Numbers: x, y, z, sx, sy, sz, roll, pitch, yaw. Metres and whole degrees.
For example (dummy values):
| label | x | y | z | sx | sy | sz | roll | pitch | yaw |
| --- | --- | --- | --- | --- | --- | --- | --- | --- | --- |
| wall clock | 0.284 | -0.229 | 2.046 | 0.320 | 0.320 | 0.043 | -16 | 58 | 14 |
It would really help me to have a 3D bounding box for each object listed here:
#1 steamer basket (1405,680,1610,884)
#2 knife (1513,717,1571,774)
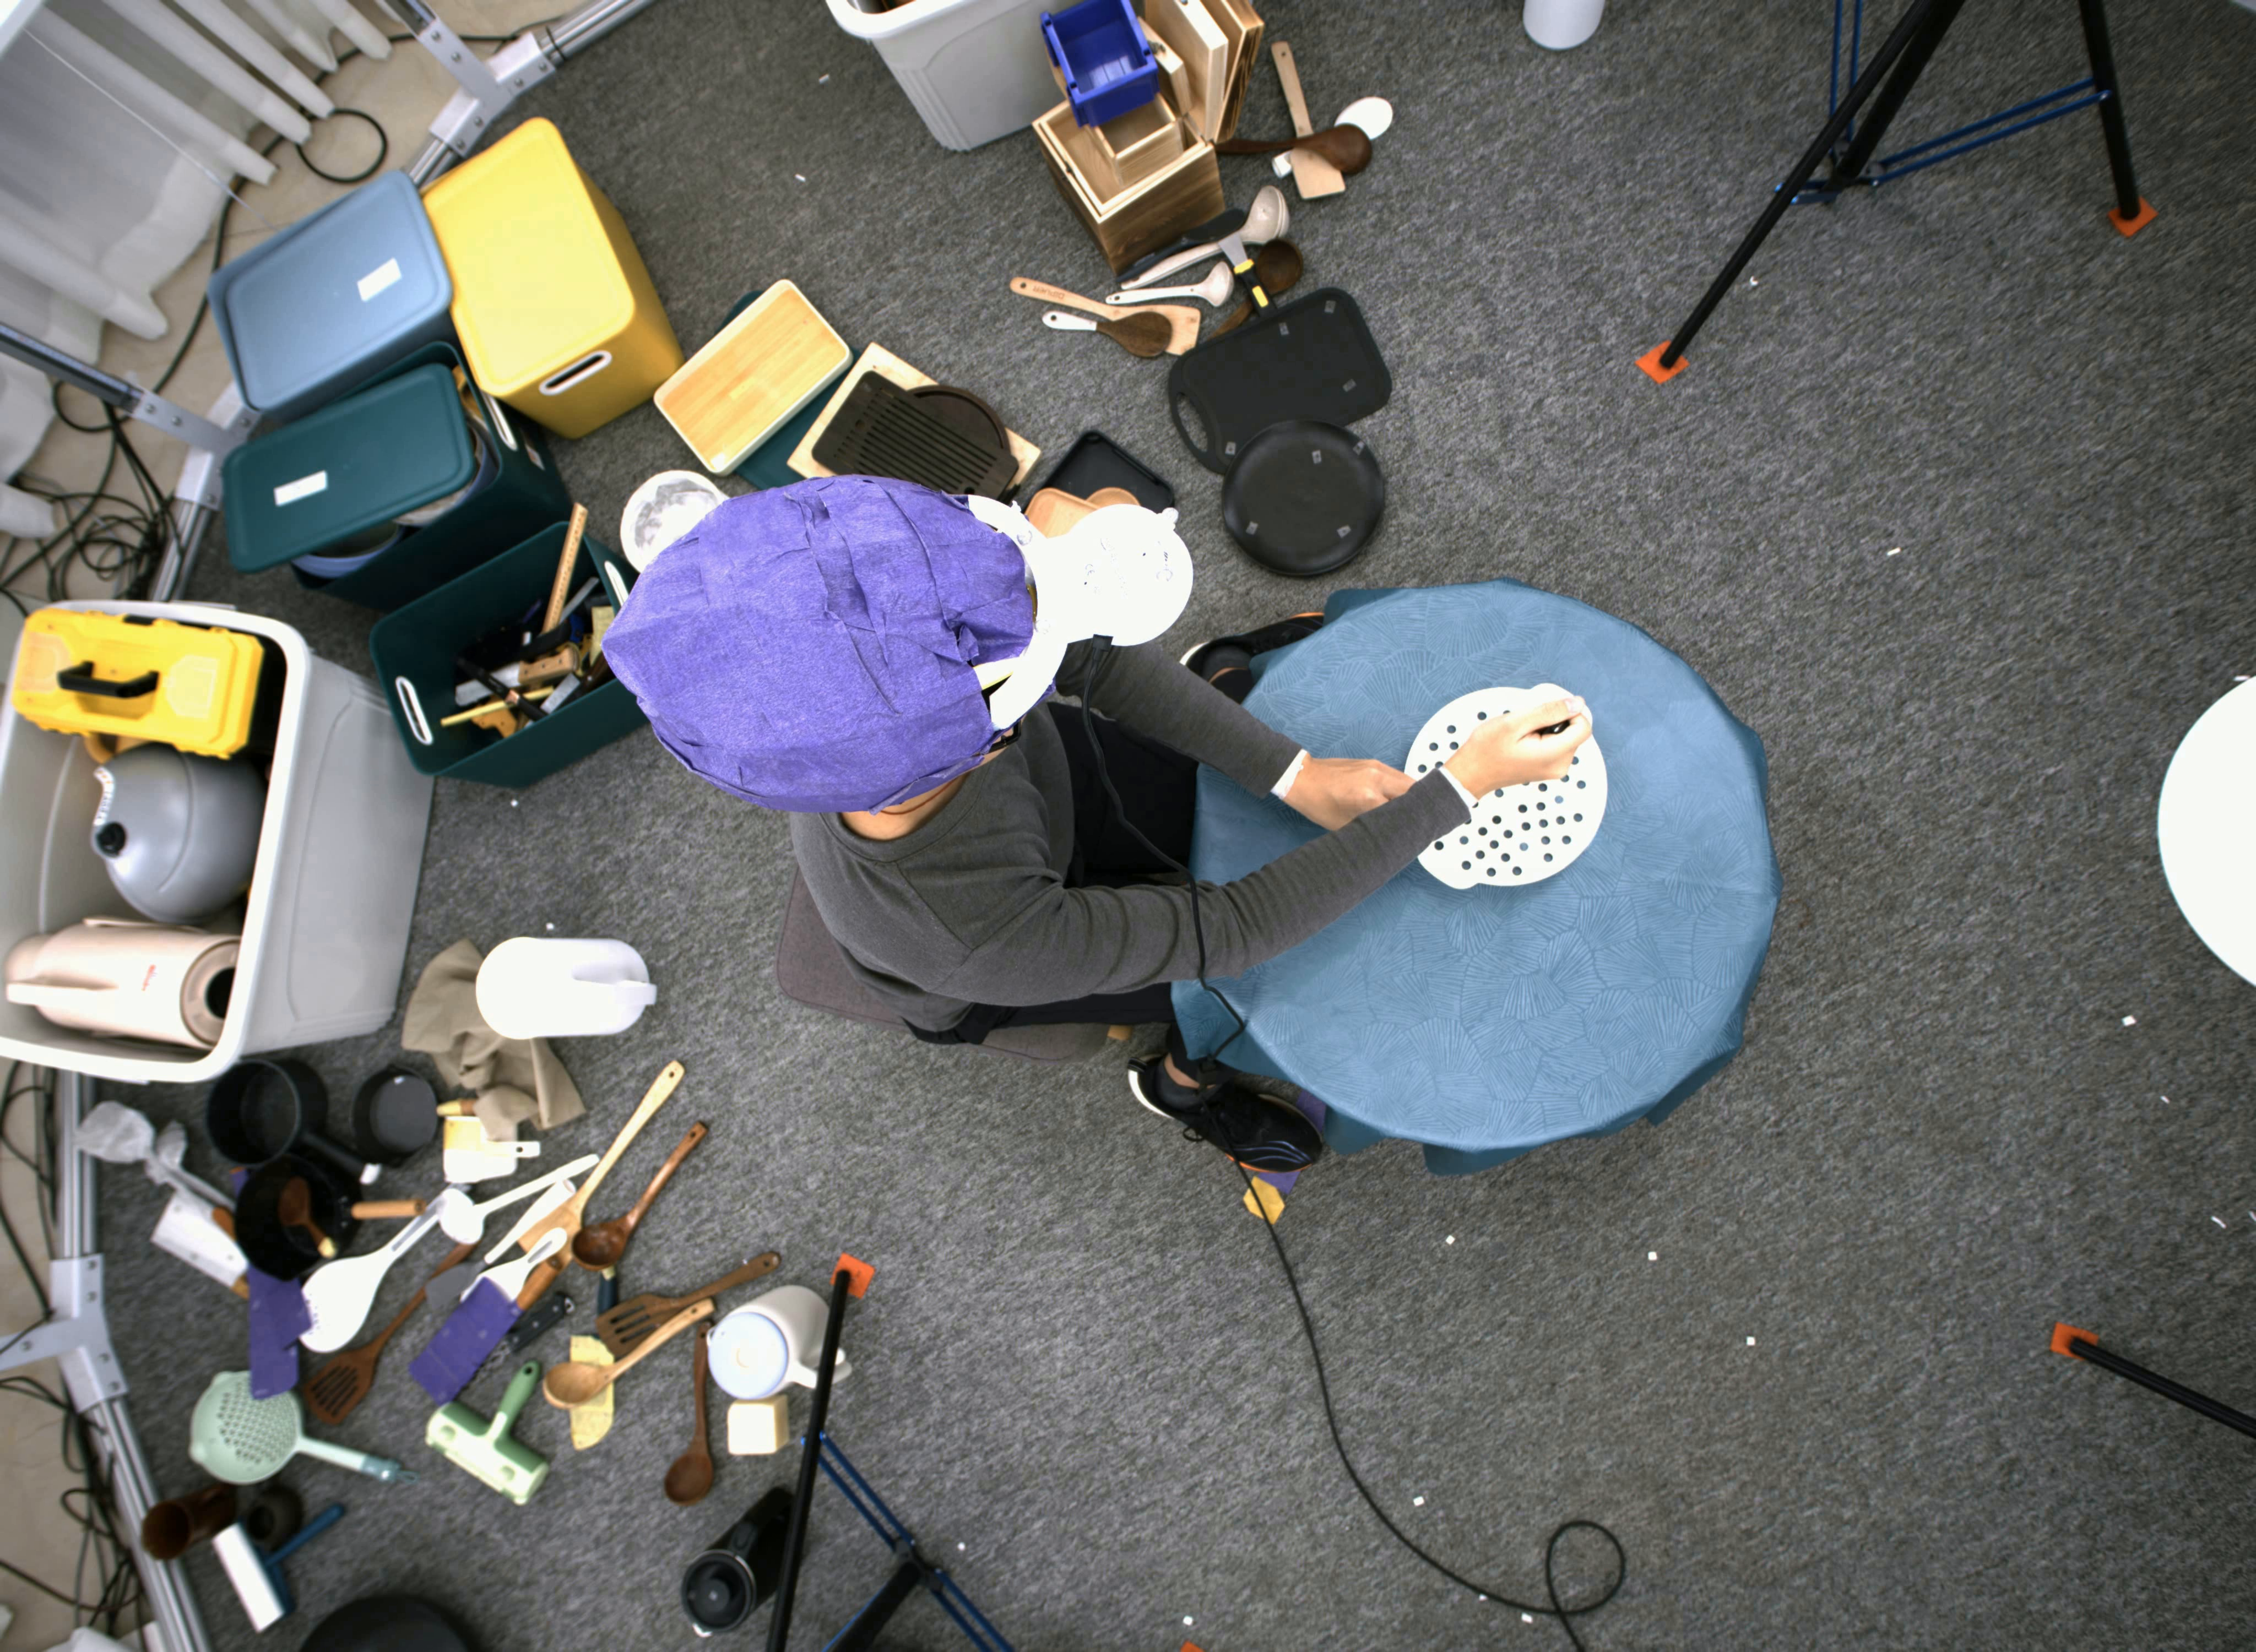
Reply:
| label | x | y | z | sx | sy | sz | roll | pitch | yaw |
| --- | --- | --- | --- | --- | --- | --- | --- | --- | --- |
| steamer basket | 0.387 | -0.044 | 1.410 | 0.201 | 0.069 | 0.231 | 38 | 94 | 11 |
| knife | 0.385 | -0.071 | 1.298 | 0.024 | 0.239 | 0.016 | -41 | 80 | -1 |
